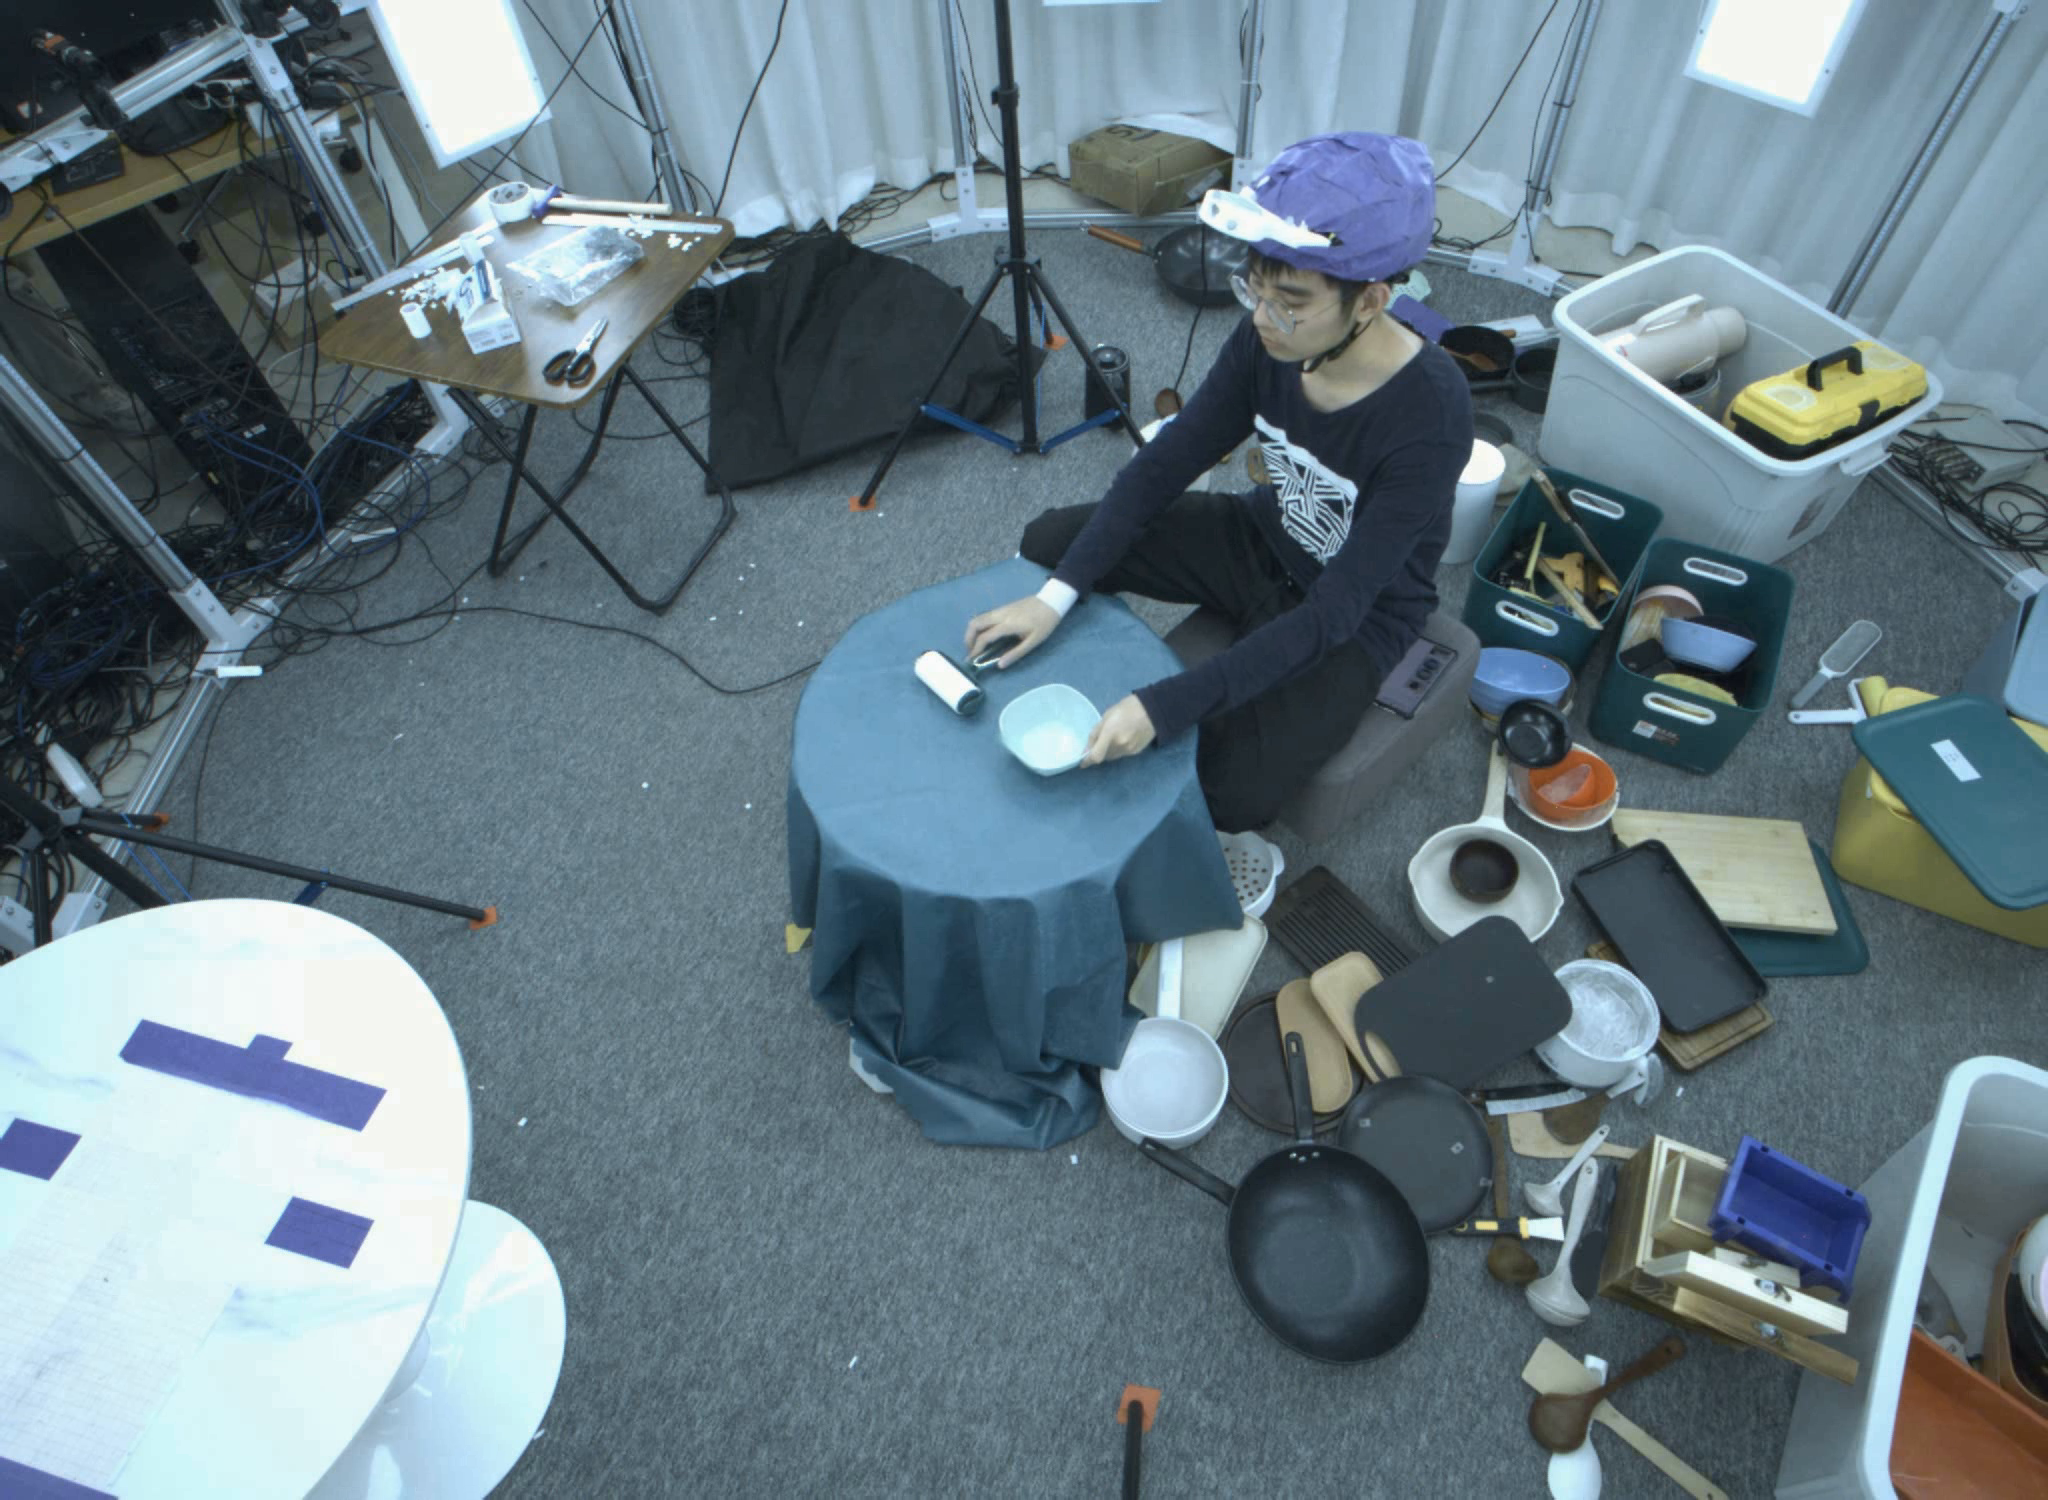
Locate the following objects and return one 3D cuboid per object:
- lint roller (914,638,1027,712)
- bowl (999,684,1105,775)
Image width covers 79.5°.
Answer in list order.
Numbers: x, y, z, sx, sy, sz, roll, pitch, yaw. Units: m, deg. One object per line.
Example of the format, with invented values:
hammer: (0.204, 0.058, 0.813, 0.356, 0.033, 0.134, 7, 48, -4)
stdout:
lint roller: (-0.065, -0.137, 1.870, 0.182, 0.049, 0.132, -35, 60, -25)
bowl: (0.041, -0.019, 1.768, 0.151, 0.059, 0.150, 0, 55, 2)
